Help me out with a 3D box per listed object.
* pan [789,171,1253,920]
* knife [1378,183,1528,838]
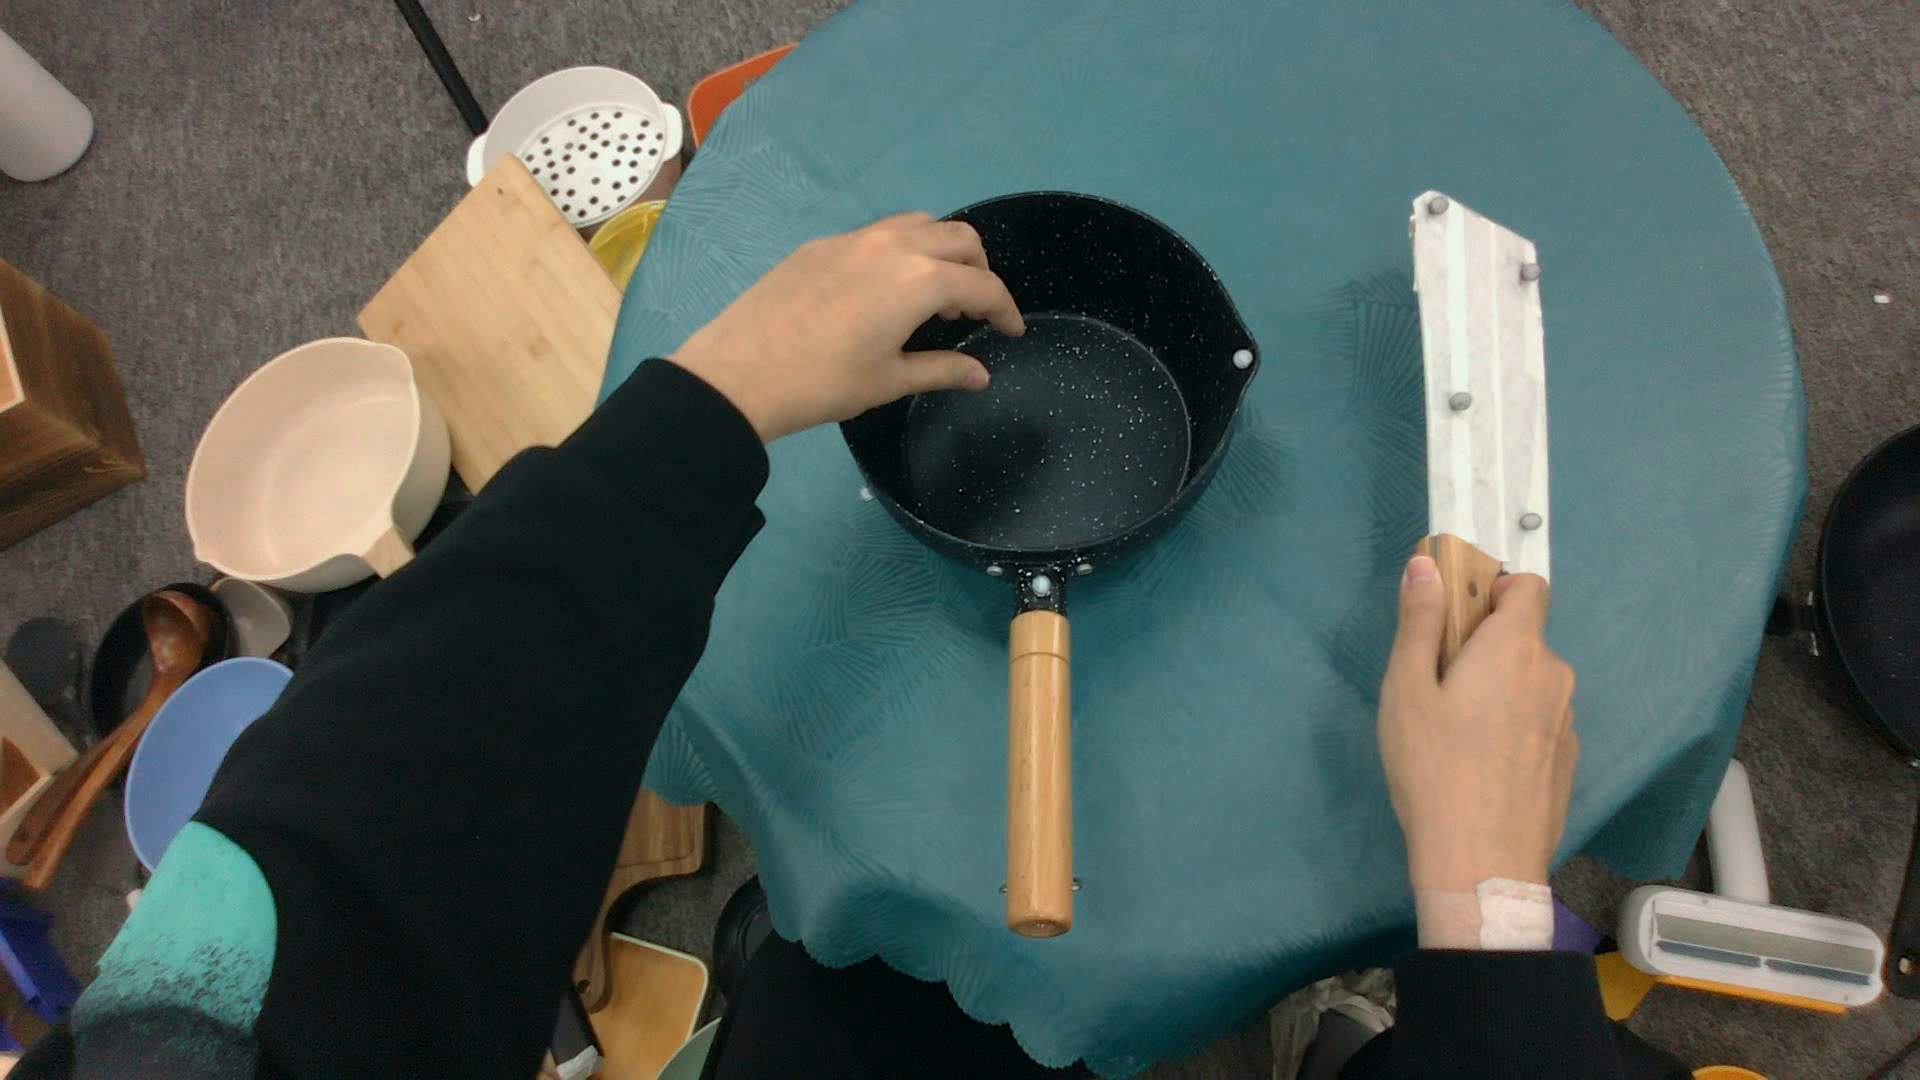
[{"bbox_3d":[0.030,-0.002,0.616,0.207,0.108,0.344,-3,68,4],"label":"pan"},{"bbox_3d":[0.223,-0.024,0.622,0.114,0.021,0.316,21,65,-32],"label":"knife"}]
